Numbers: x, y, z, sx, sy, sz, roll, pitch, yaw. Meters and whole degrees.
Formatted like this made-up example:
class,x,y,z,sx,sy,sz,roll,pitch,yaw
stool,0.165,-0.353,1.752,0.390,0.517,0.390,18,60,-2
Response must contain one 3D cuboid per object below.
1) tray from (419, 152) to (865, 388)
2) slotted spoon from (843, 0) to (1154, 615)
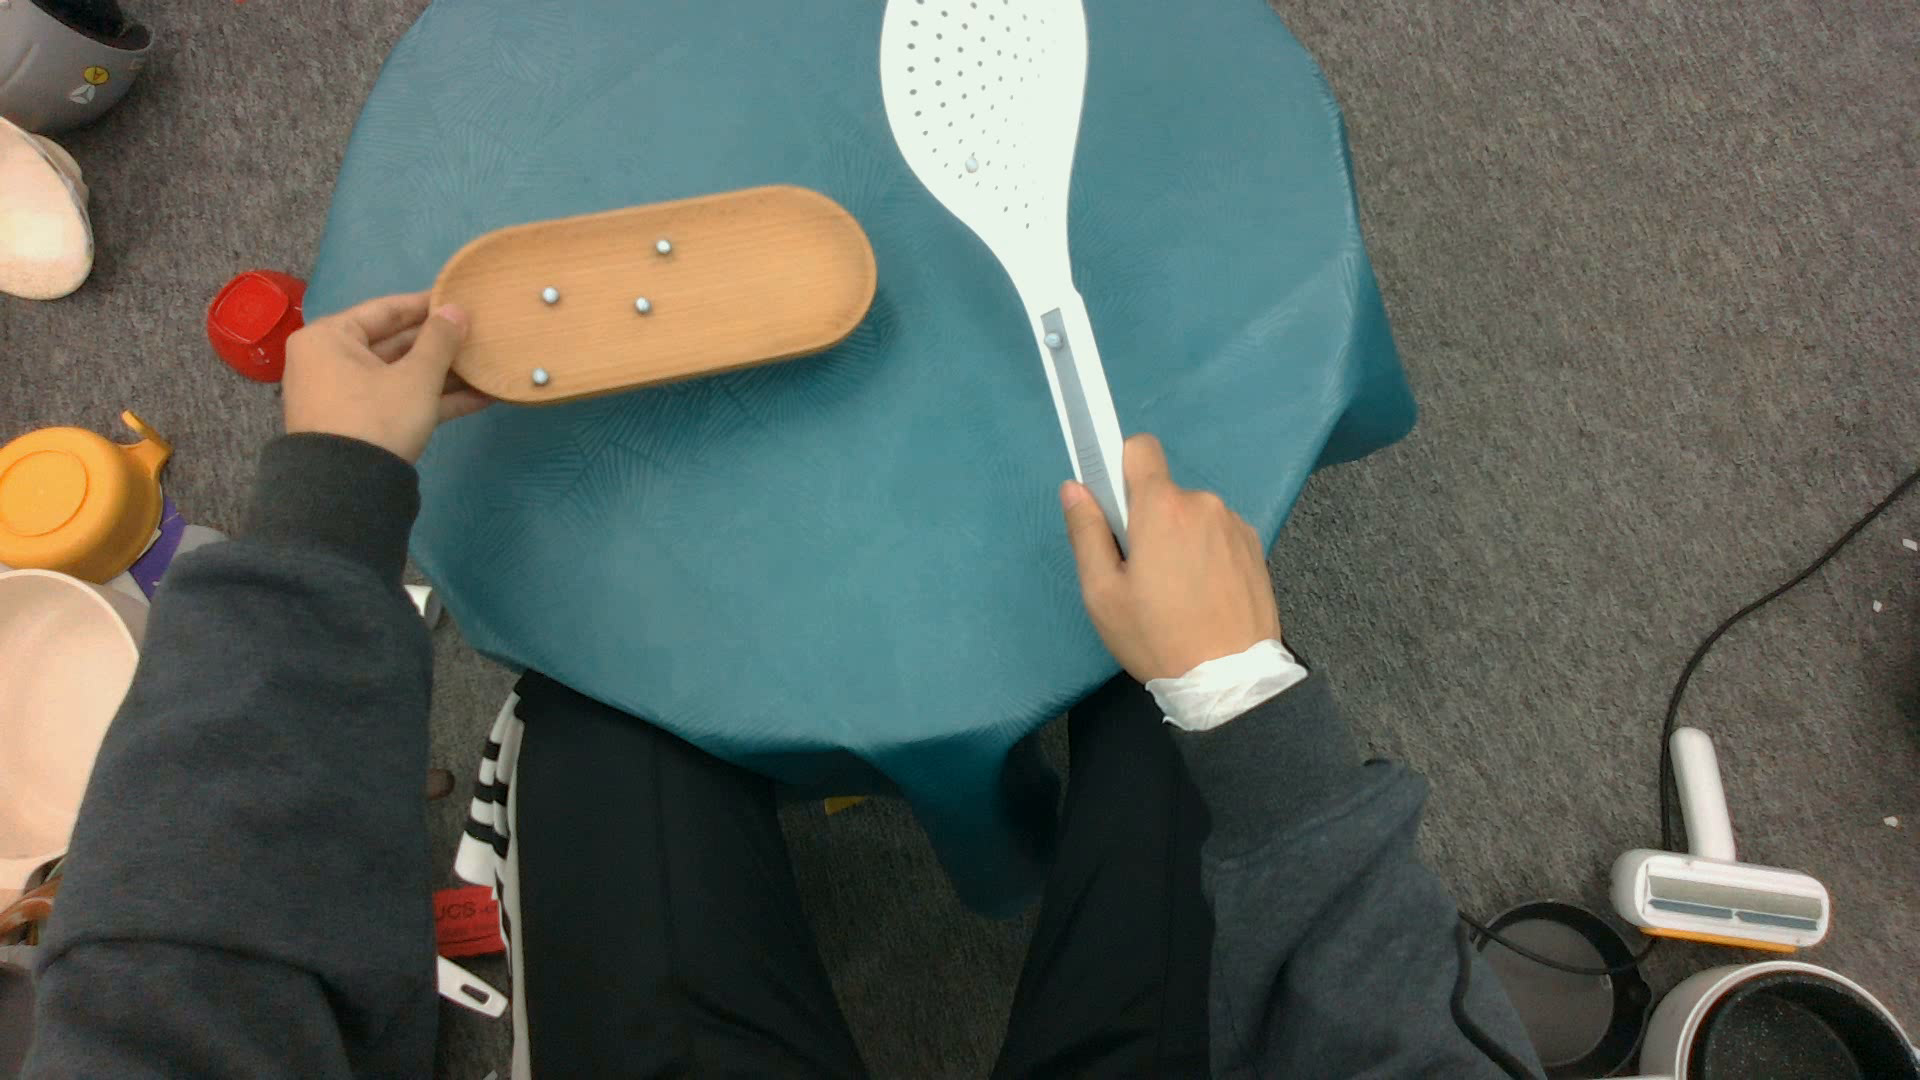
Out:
class,x,y,z,sx,sy,sz,roll,pitch,yaw
tray,-0.163,-0.143,0.724,0.231,0.020,0.102,-15,77,-15
slotted spoon,0.027,-0.132,0.657,0.046,0.135,0.350,-13,87,-38
